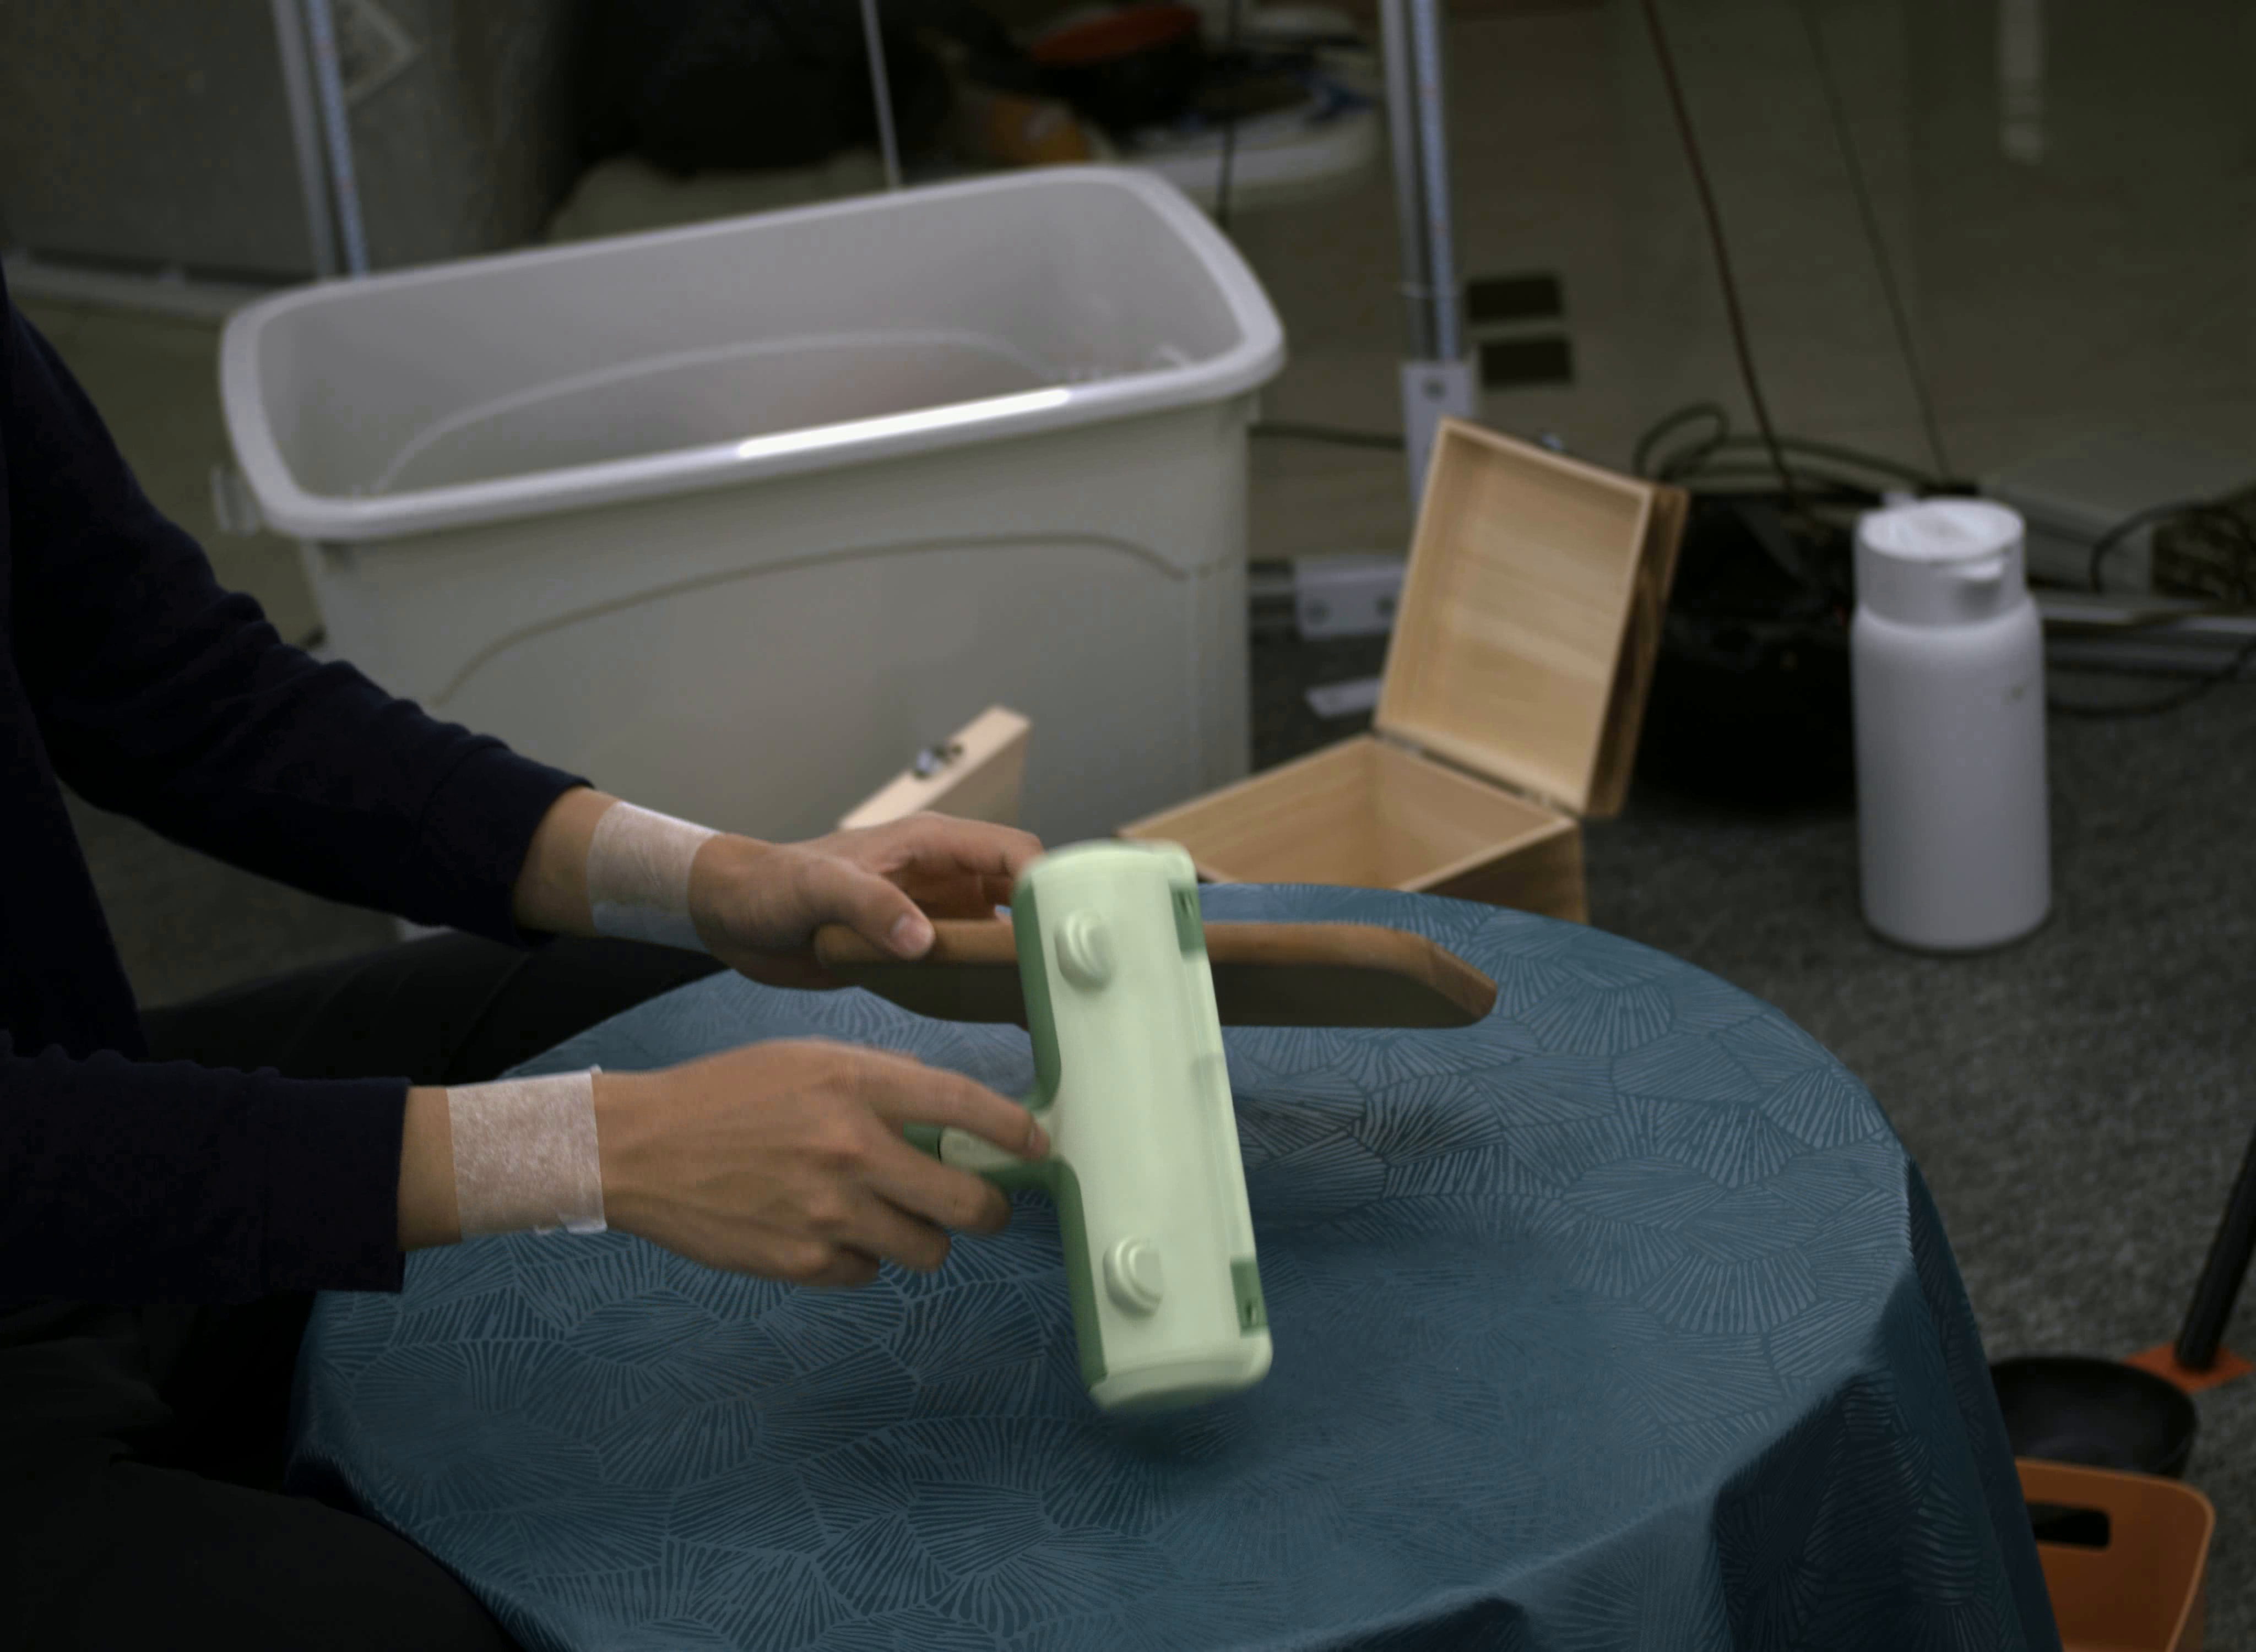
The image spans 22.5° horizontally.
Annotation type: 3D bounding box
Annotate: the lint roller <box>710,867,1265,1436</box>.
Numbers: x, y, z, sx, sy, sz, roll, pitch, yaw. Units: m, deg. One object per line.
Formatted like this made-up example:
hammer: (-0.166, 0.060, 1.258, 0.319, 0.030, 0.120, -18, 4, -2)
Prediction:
lint roller: (-0.055, 0.116, 1.971, 0.183, 0.083, 0.196, -6, 71, -5)

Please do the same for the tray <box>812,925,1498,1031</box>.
tray: (0.009, 0.058, 2.152, 0.250, 0.023, 0.131, -1, -15, 23)
